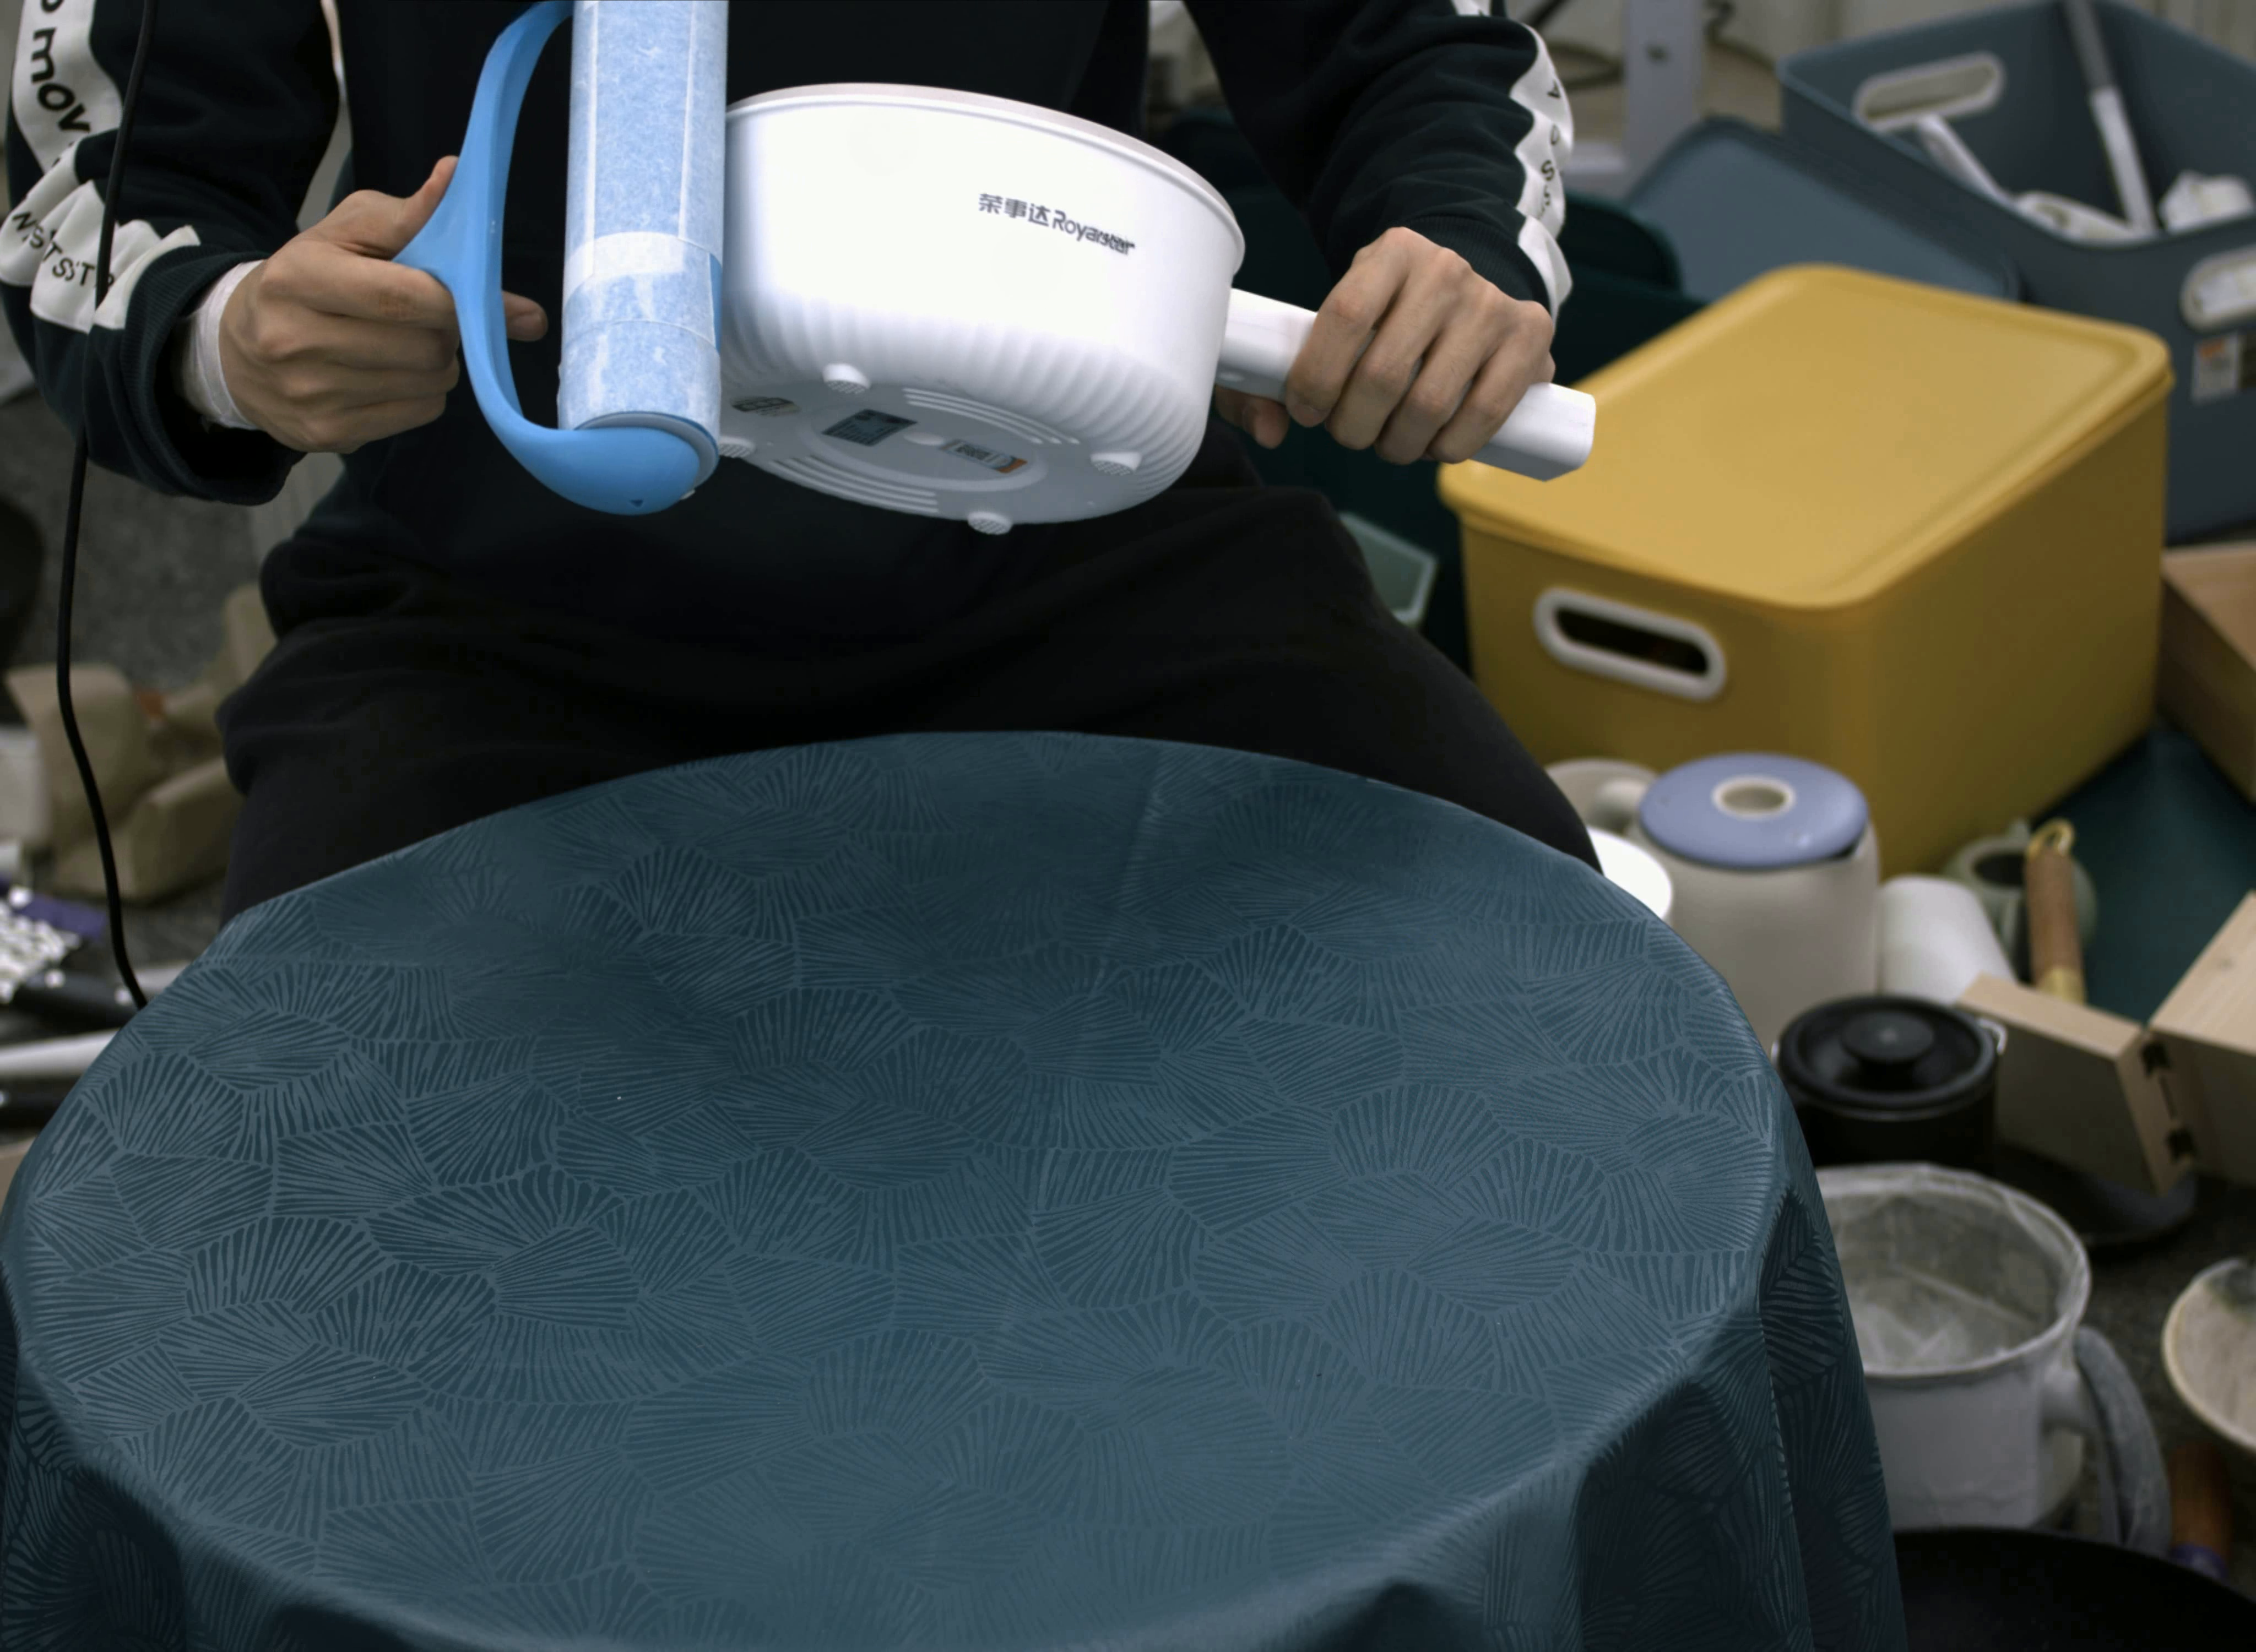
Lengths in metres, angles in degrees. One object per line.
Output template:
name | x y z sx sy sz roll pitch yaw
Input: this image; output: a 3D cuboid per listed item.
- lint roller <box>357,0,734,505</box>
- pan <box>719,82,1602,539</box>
lint roller | -0.210 -0.188 1.922 0.178 0.067 0.233 -22 54 25
pan | 0.004 -0.155 2.007 0.354 0.103 0.199 16 -17 -23
